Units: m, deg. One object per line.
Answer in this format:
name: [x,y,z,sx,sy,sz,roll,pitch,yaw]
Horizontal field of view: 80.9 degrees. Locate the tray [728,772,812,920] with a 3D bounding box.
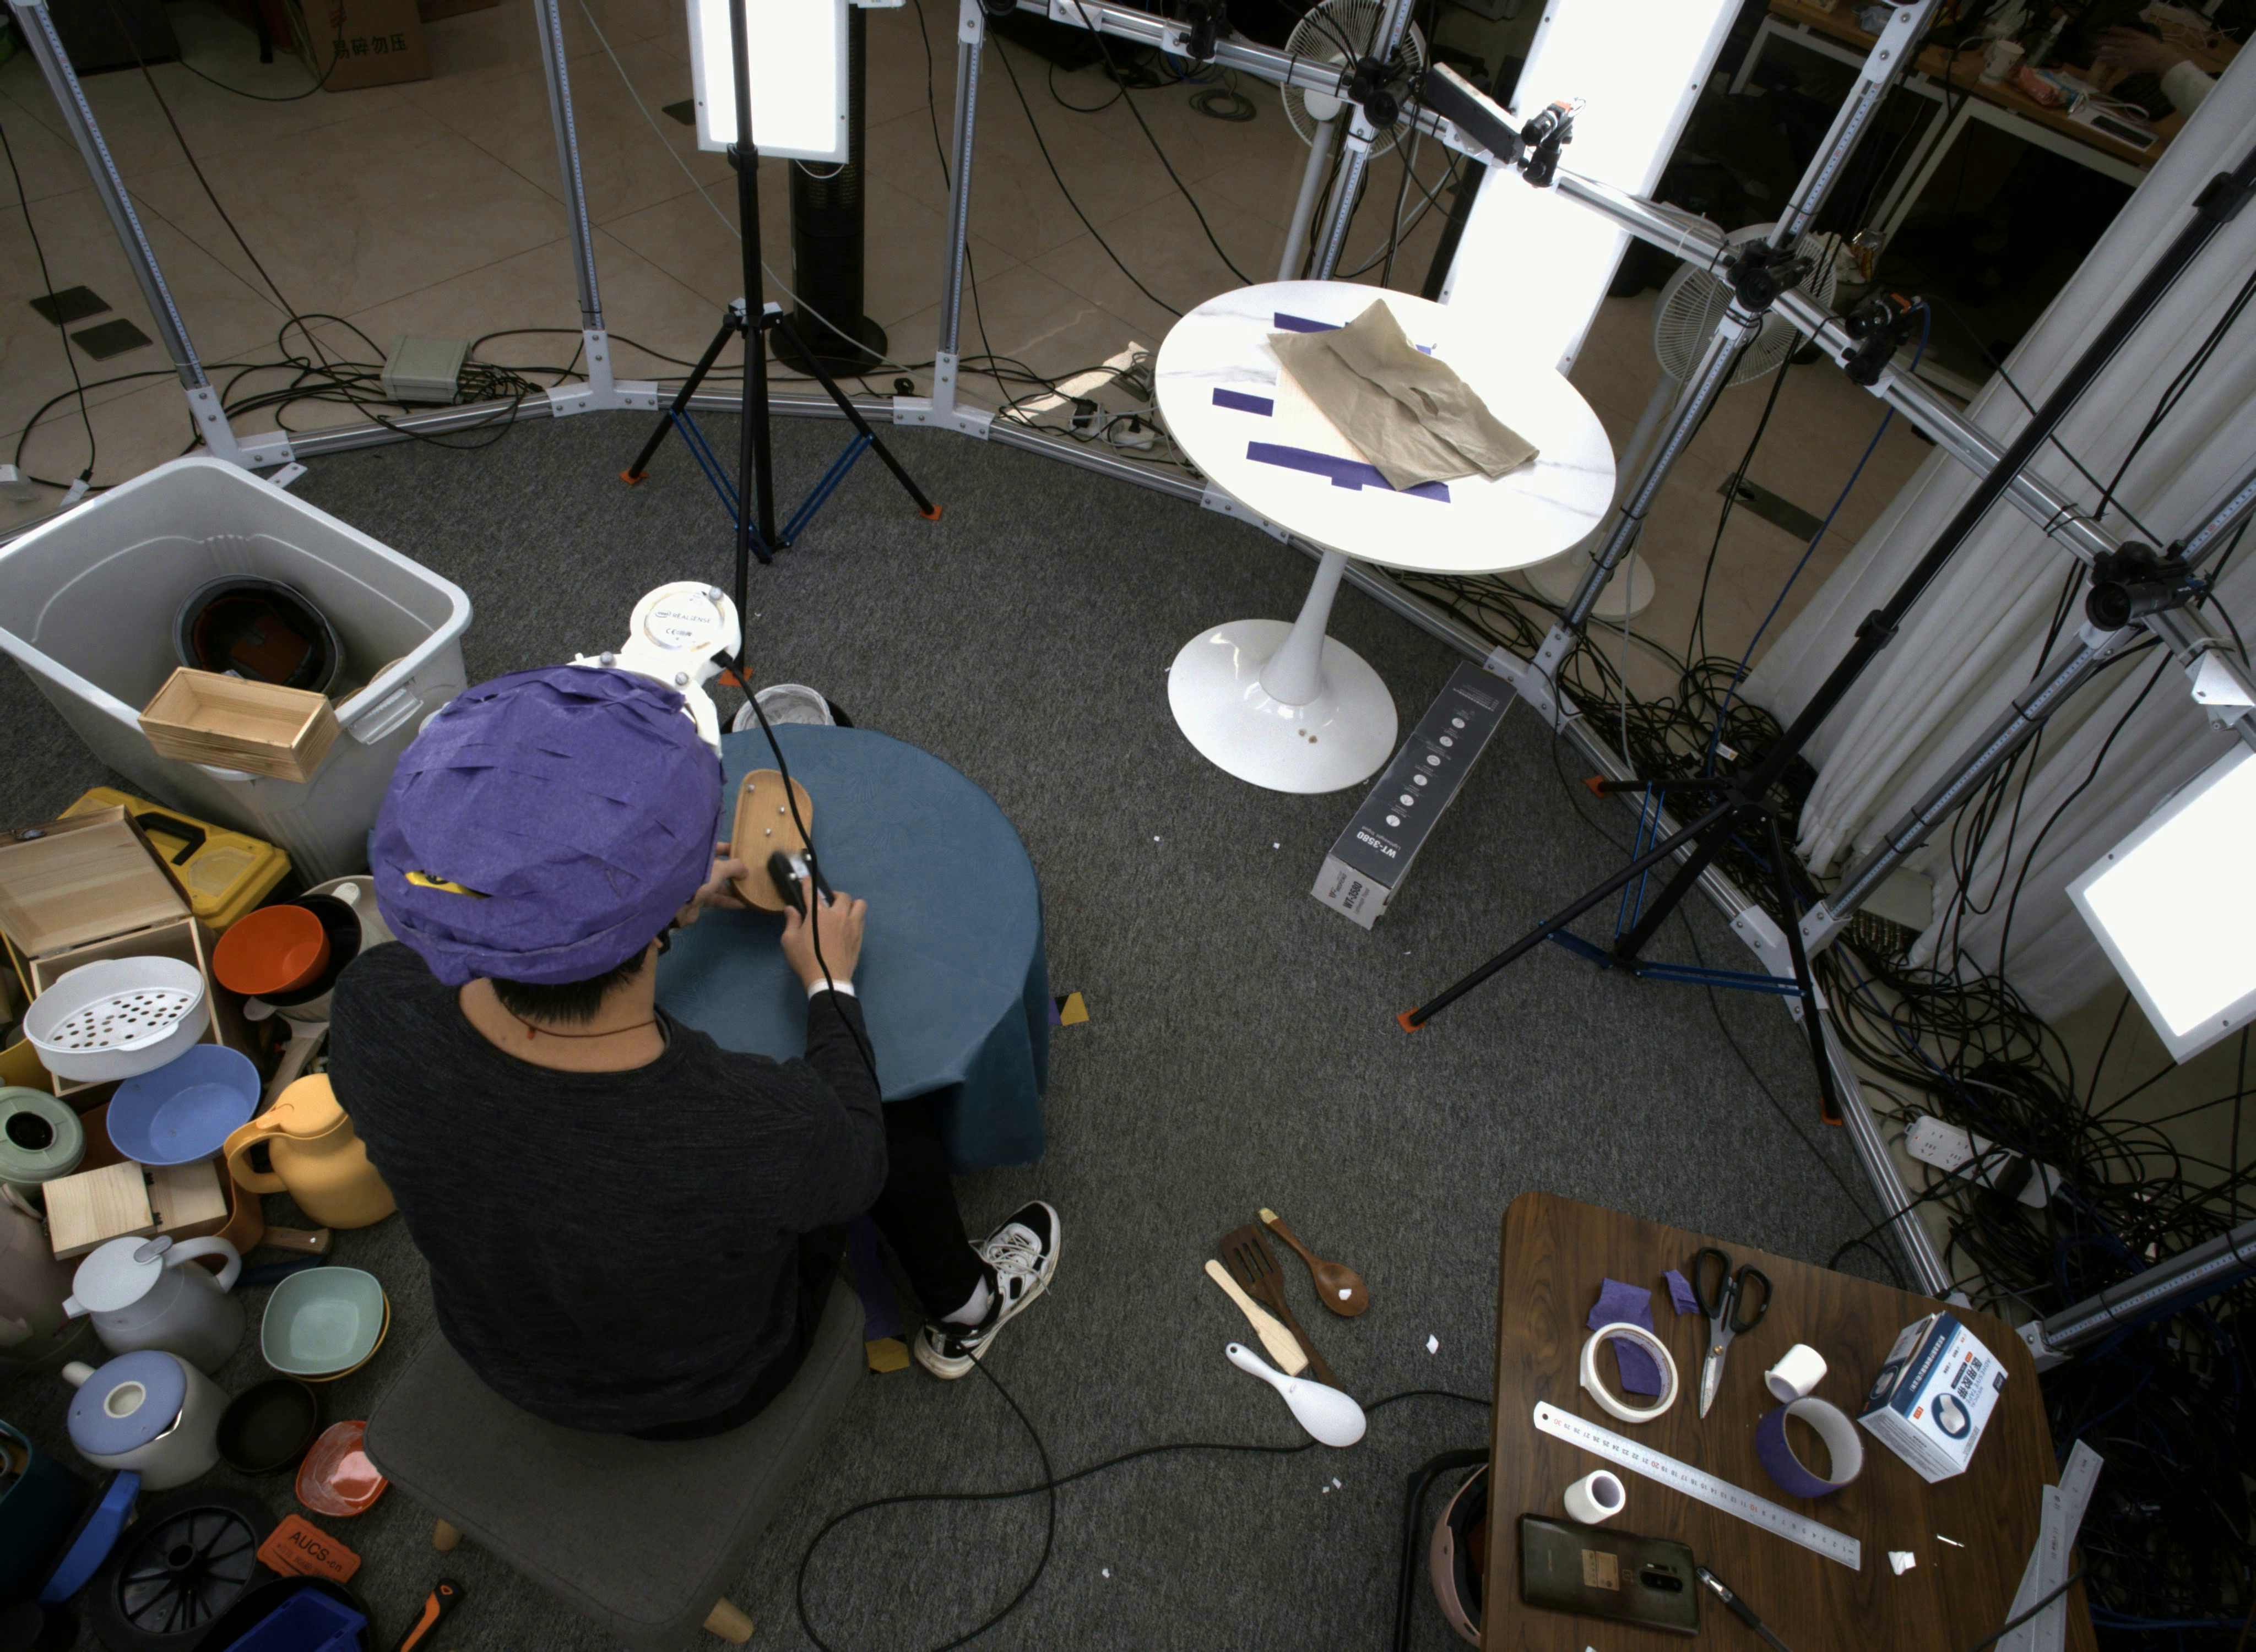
tray: [-0.452,0.022,1.637,0.104,0.020,0.226,21,43,-31]

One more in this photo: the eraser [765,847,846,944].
eraser: [-0.399,0.083,1.594,0.054,0.031,0.122,-14,59,-41]
